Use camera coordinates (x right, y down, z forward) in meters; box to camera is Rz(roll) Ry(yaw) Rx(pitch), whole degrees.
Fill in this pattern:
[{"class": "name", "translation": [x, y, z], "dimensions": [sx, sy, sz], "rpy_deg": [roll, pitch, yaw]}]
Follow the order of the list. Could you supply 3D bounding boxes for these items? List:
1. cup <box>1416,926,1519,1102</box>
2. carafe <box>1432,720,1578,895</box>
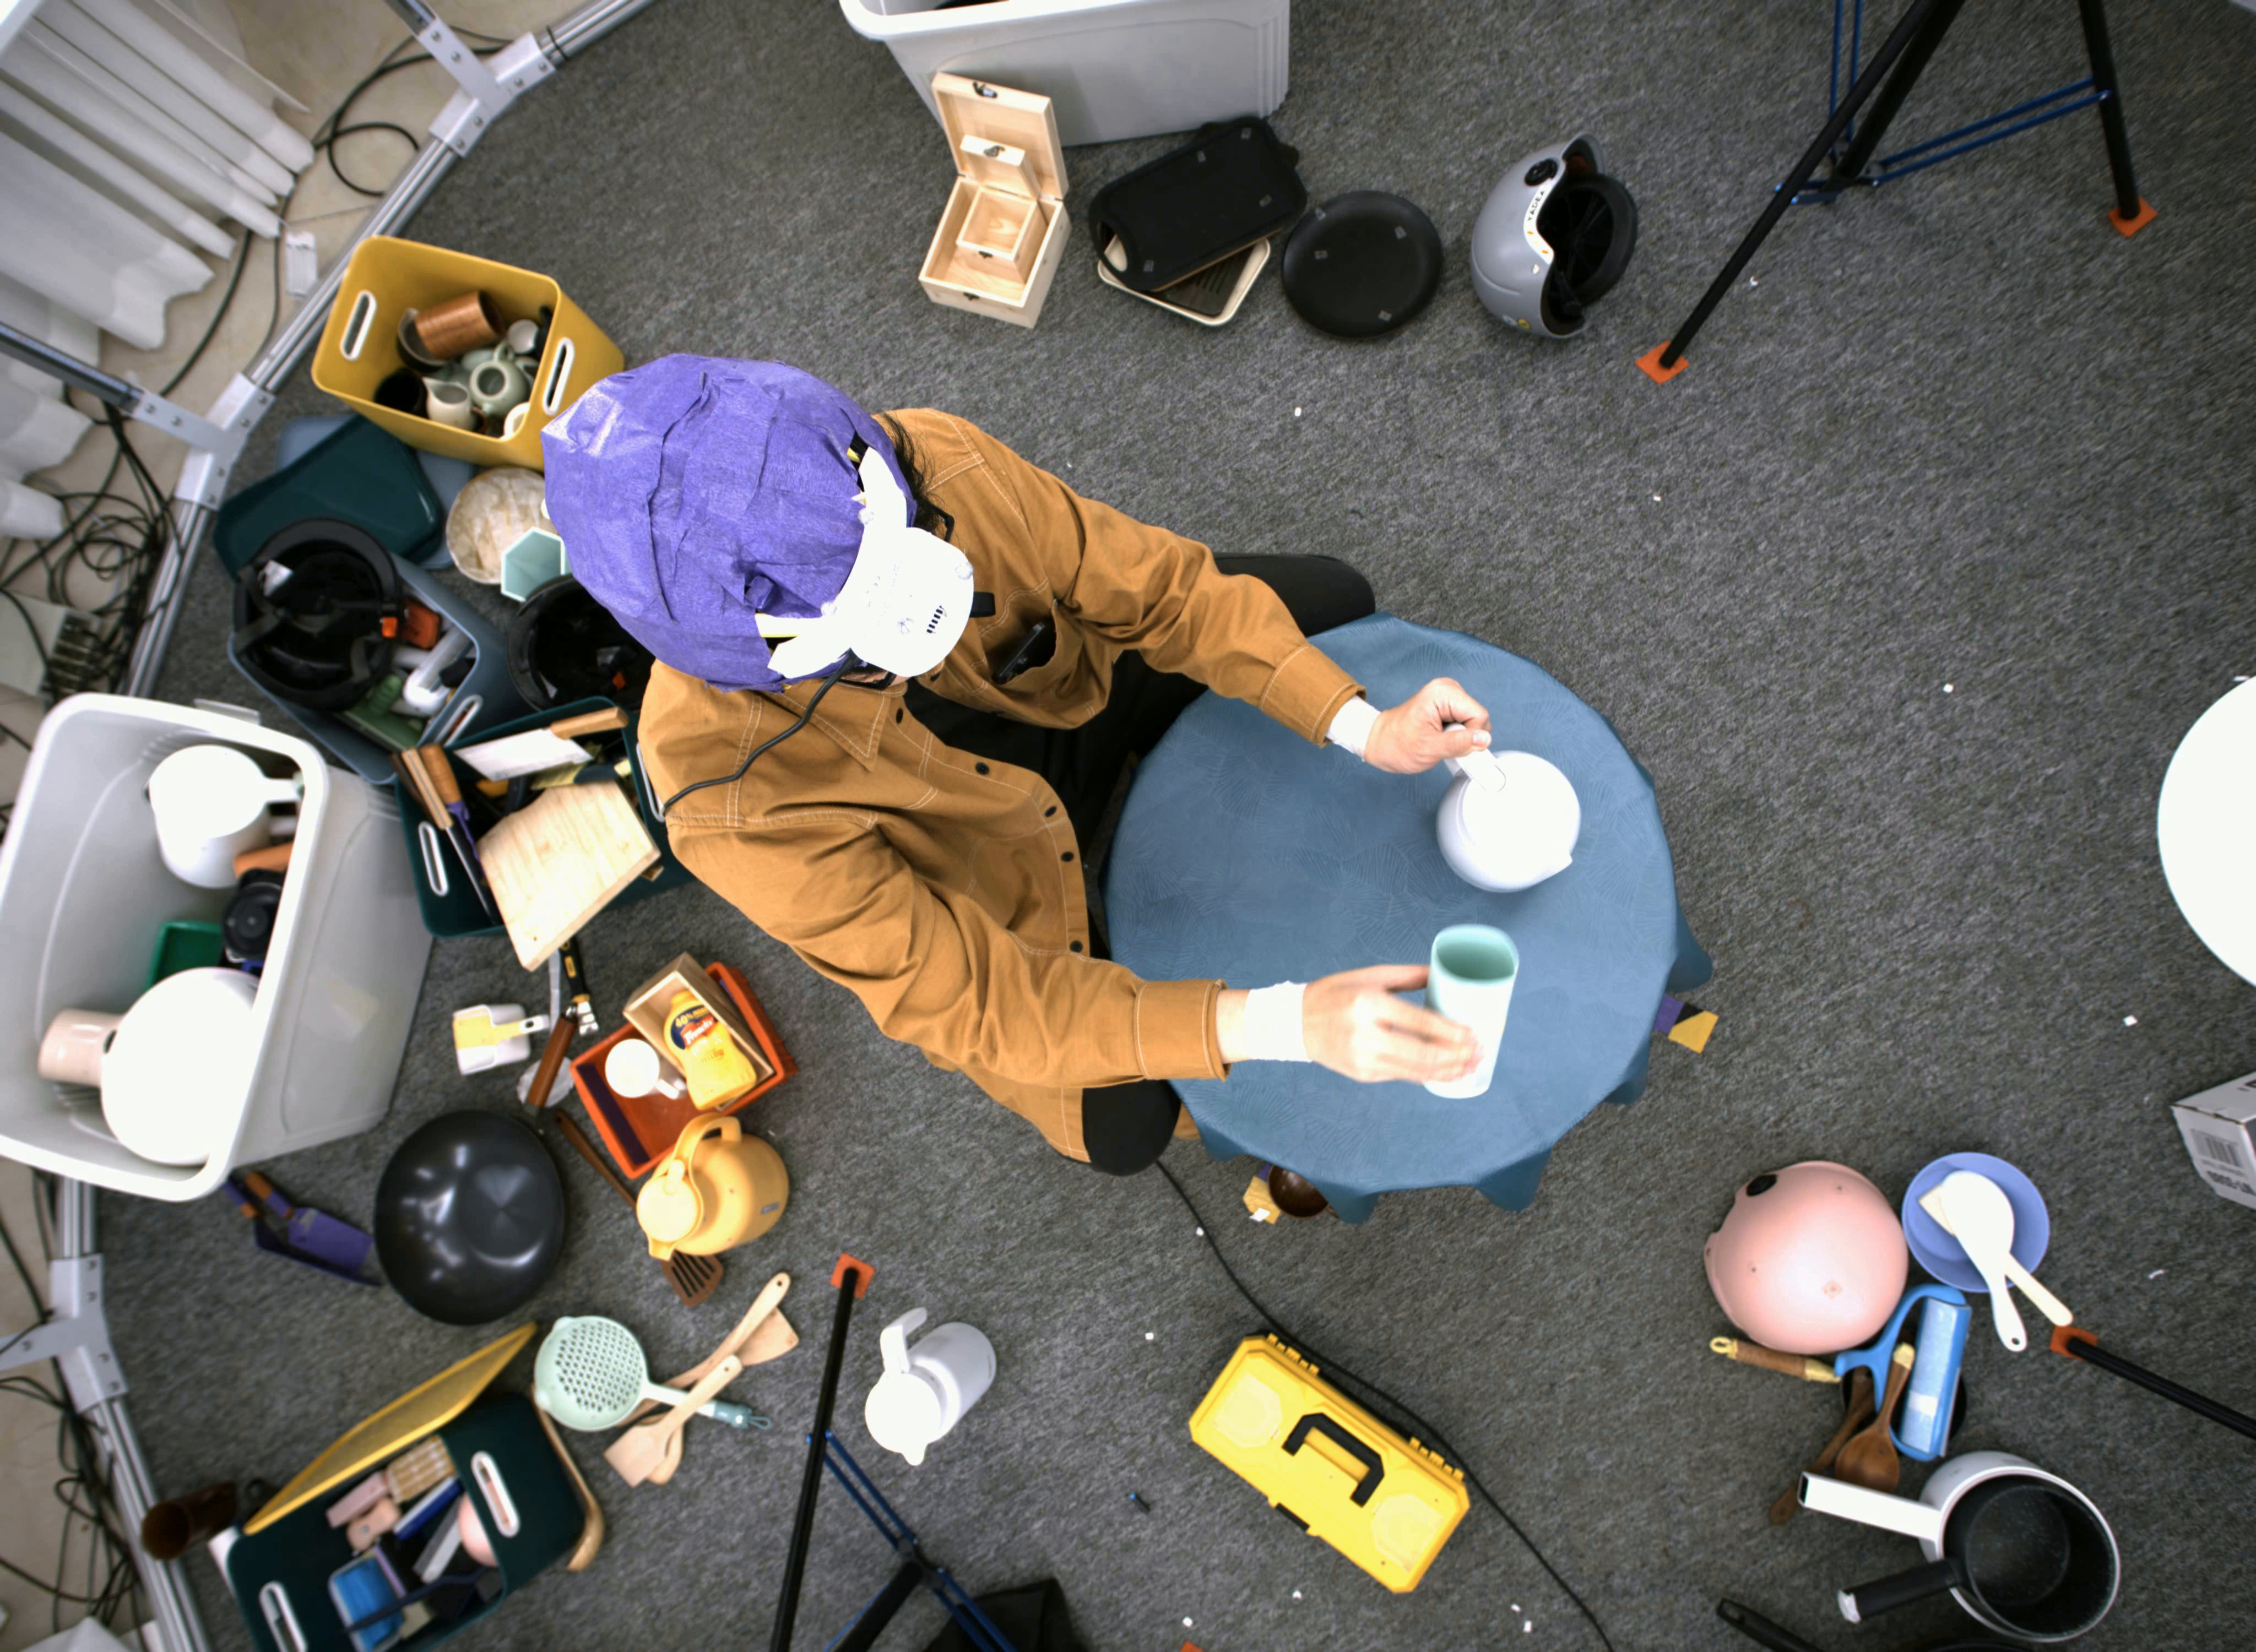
[{"class": "cup", "translation": [0.261, 0.146, 1.076], "dimensions": [0.067, 0.065, 0.135], "rpy_deg": [8, 129, 11]}, {"class": "carafe", "translation": [0.338, -0.022, 1.268], "dimensions": [0.133, 0.248, 0.166], "rpy_deg": [-37, 80, 7]}]
